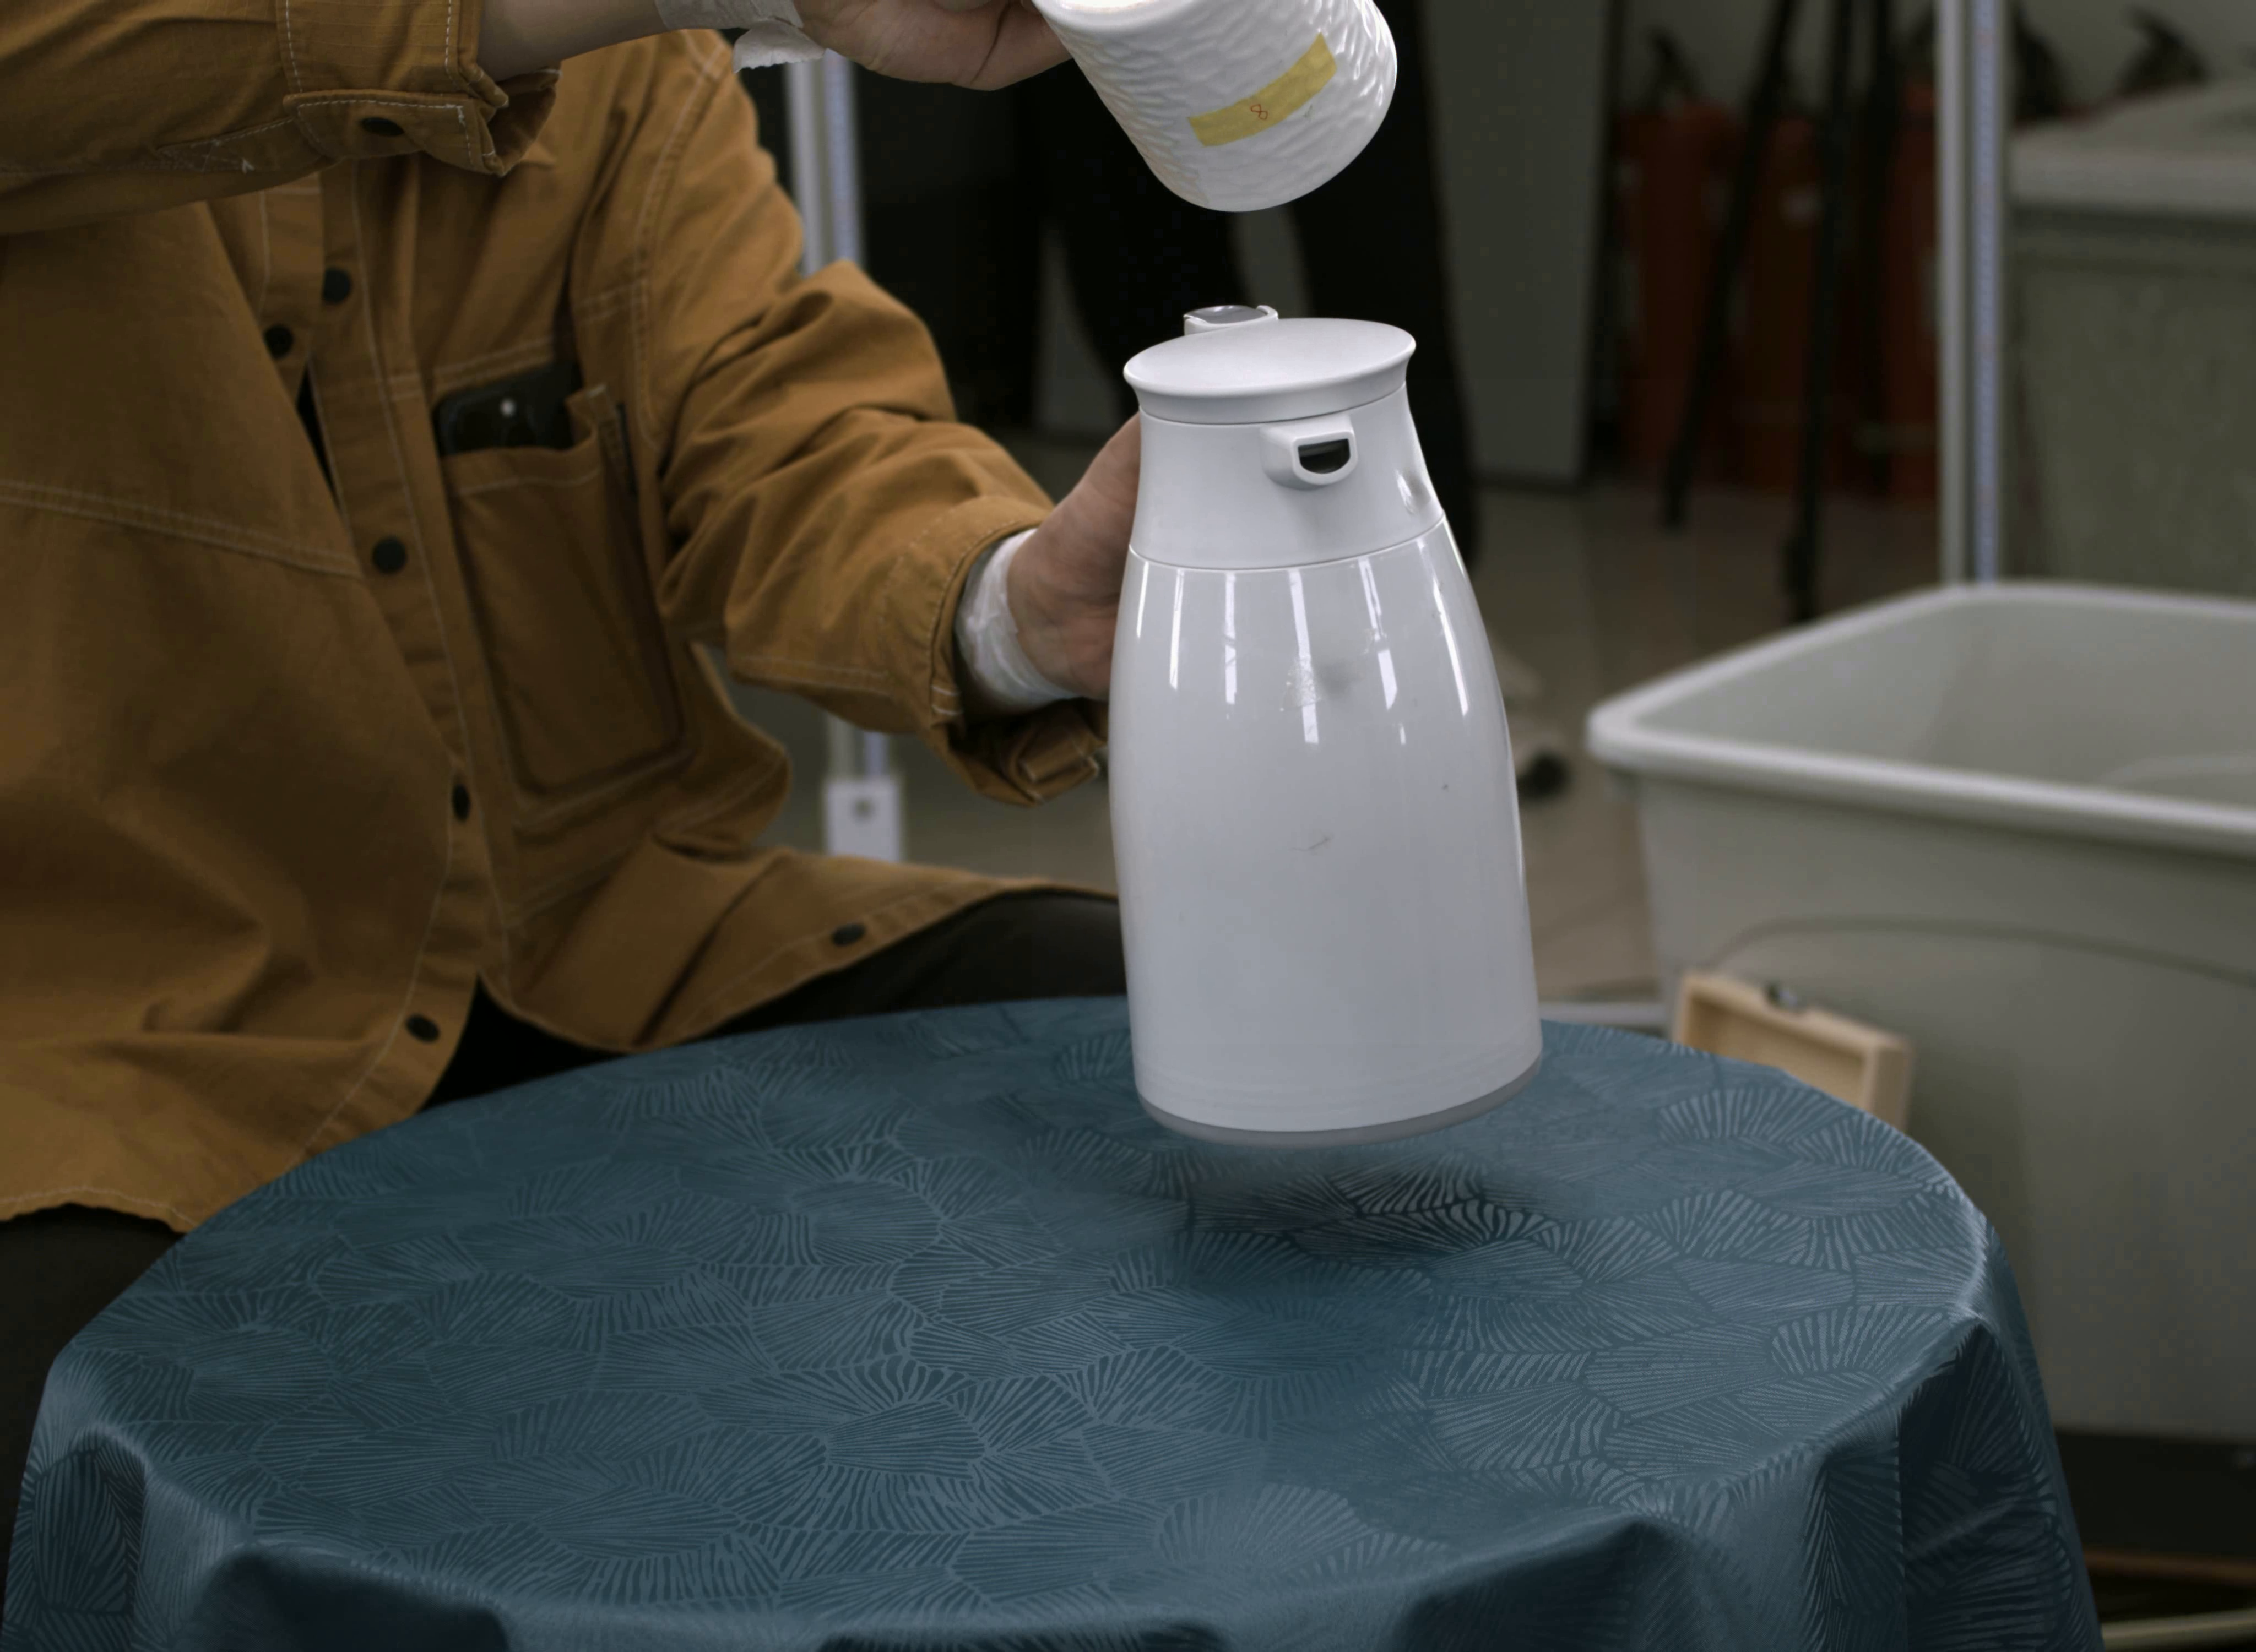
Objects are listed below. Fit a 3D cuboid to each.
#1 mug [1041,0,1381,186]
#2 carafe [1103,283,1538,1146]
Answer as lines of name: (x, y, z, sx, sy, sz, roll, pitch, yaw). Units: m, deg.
mug: (0.008, -0.261, 1.612, 0.119, 0.085, 0.101, 34, -9, 37)
carafe: (0.048, -0.044, 1.713, 0.130, 0.251, 0.169, -11, 16, -11)
